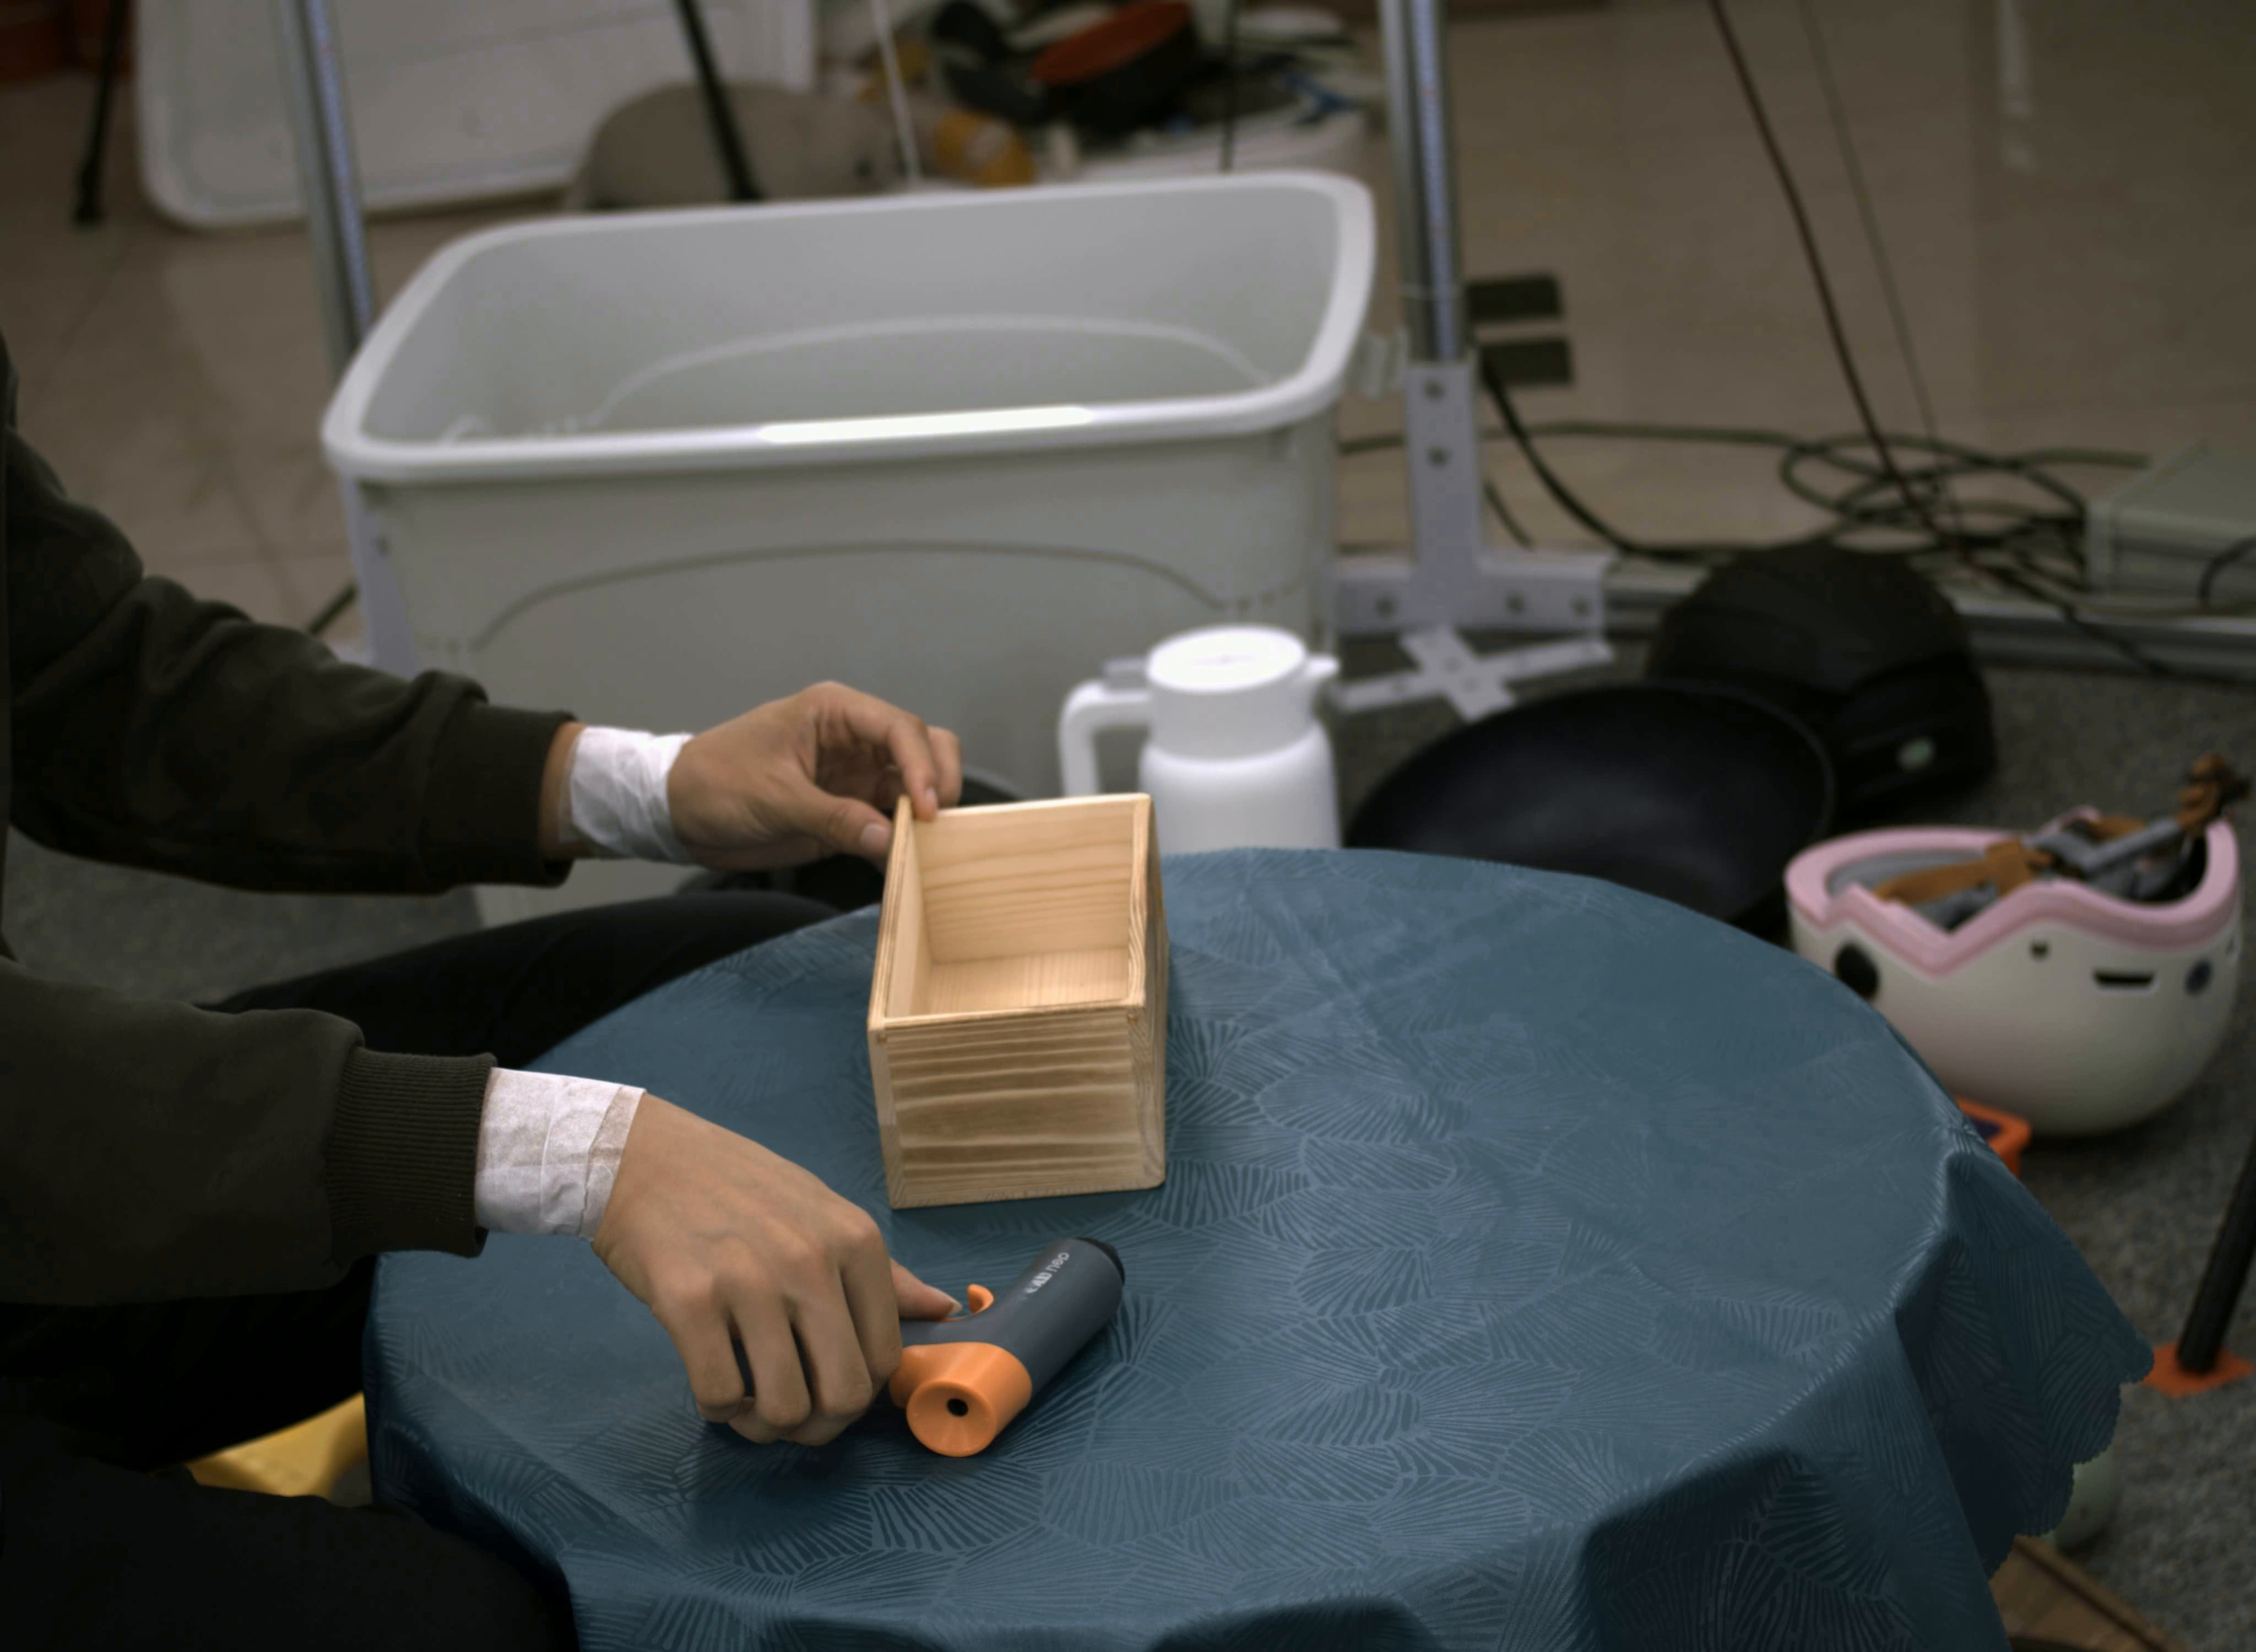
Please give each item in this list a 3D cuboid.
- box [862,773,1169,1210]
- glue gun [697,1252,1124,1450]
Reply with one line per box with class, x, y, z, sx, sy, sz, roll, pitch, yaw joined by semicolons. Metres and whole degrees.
box;-0.041;0.063;2.227;0.107;0.081;0.208;-6;25;3
glue gun;-0.076;0.182;2.038;0.139;0.041;0.116;2;22;11
